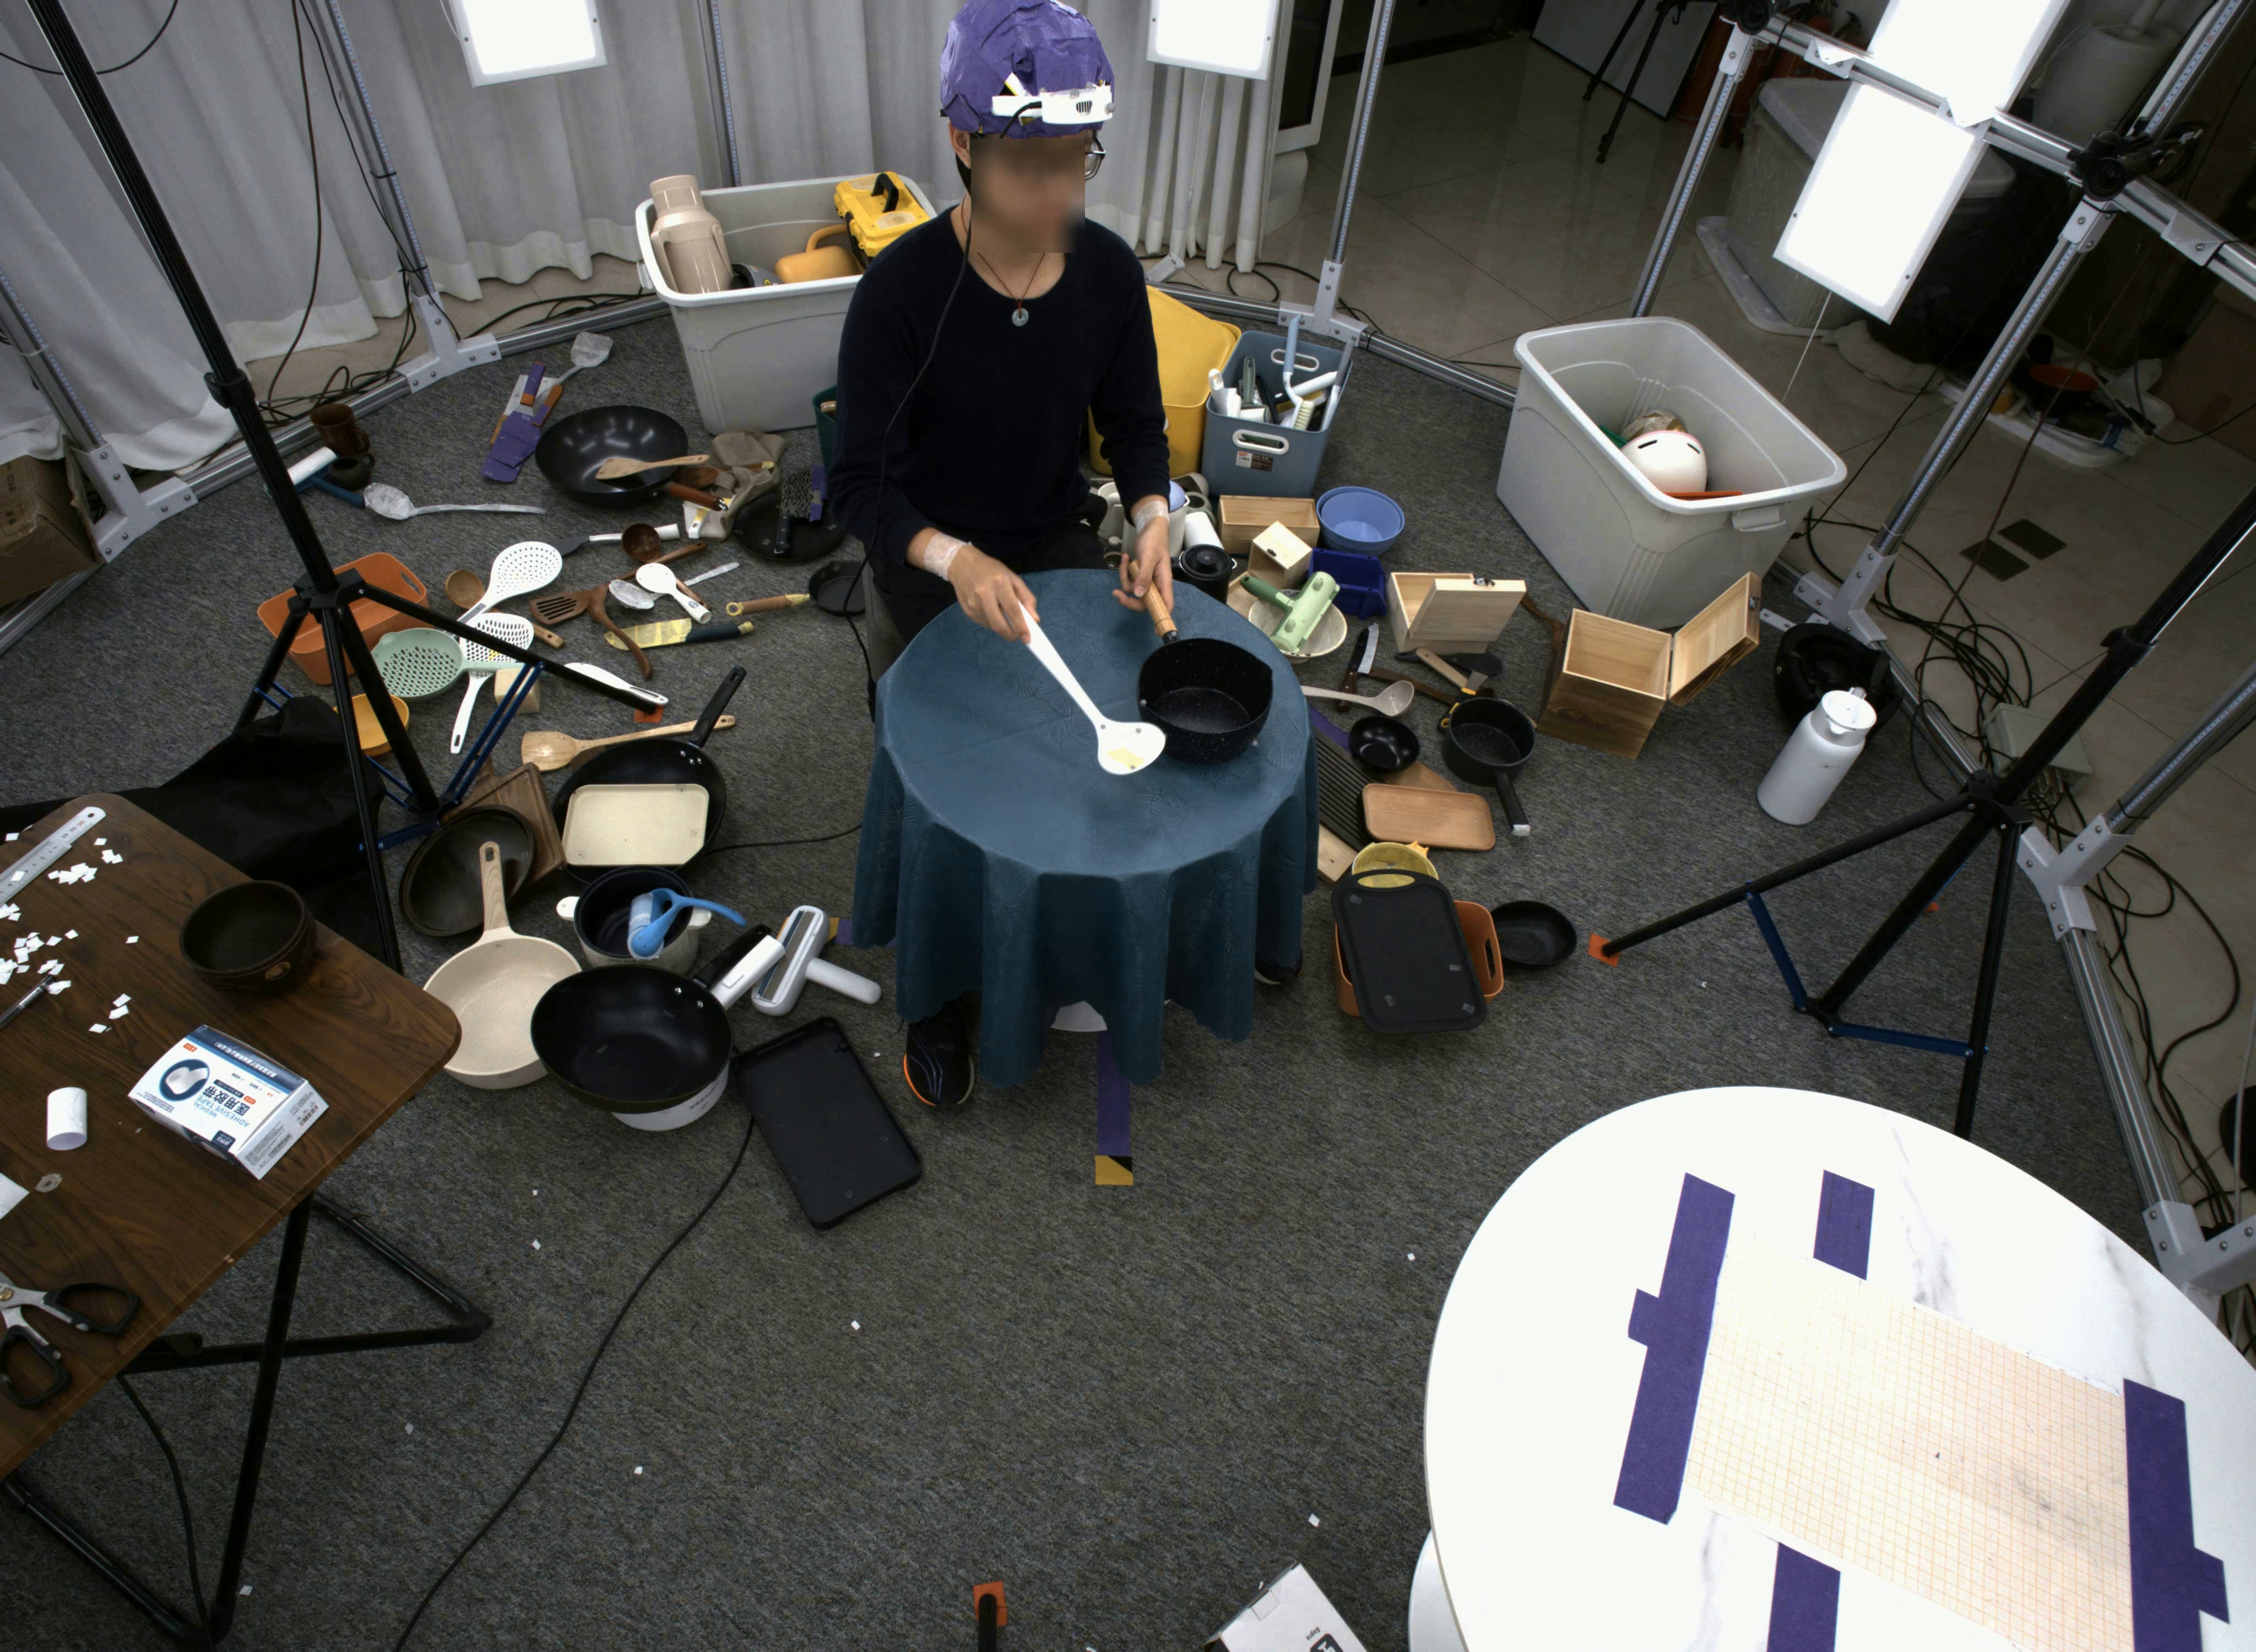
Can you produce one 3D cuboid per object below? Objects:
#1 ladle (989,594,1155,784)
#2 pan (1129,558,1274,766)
[{"bbox_3d":[-0.079,-0.180,1.652,0.090,0.069,0.293,-37,87,-9],"label":"ladle"},{"bbox_3d":[0.071,-0.231,1.805,0.207,0.105,0.350,-17,54,-16],"label":"pan"}]
